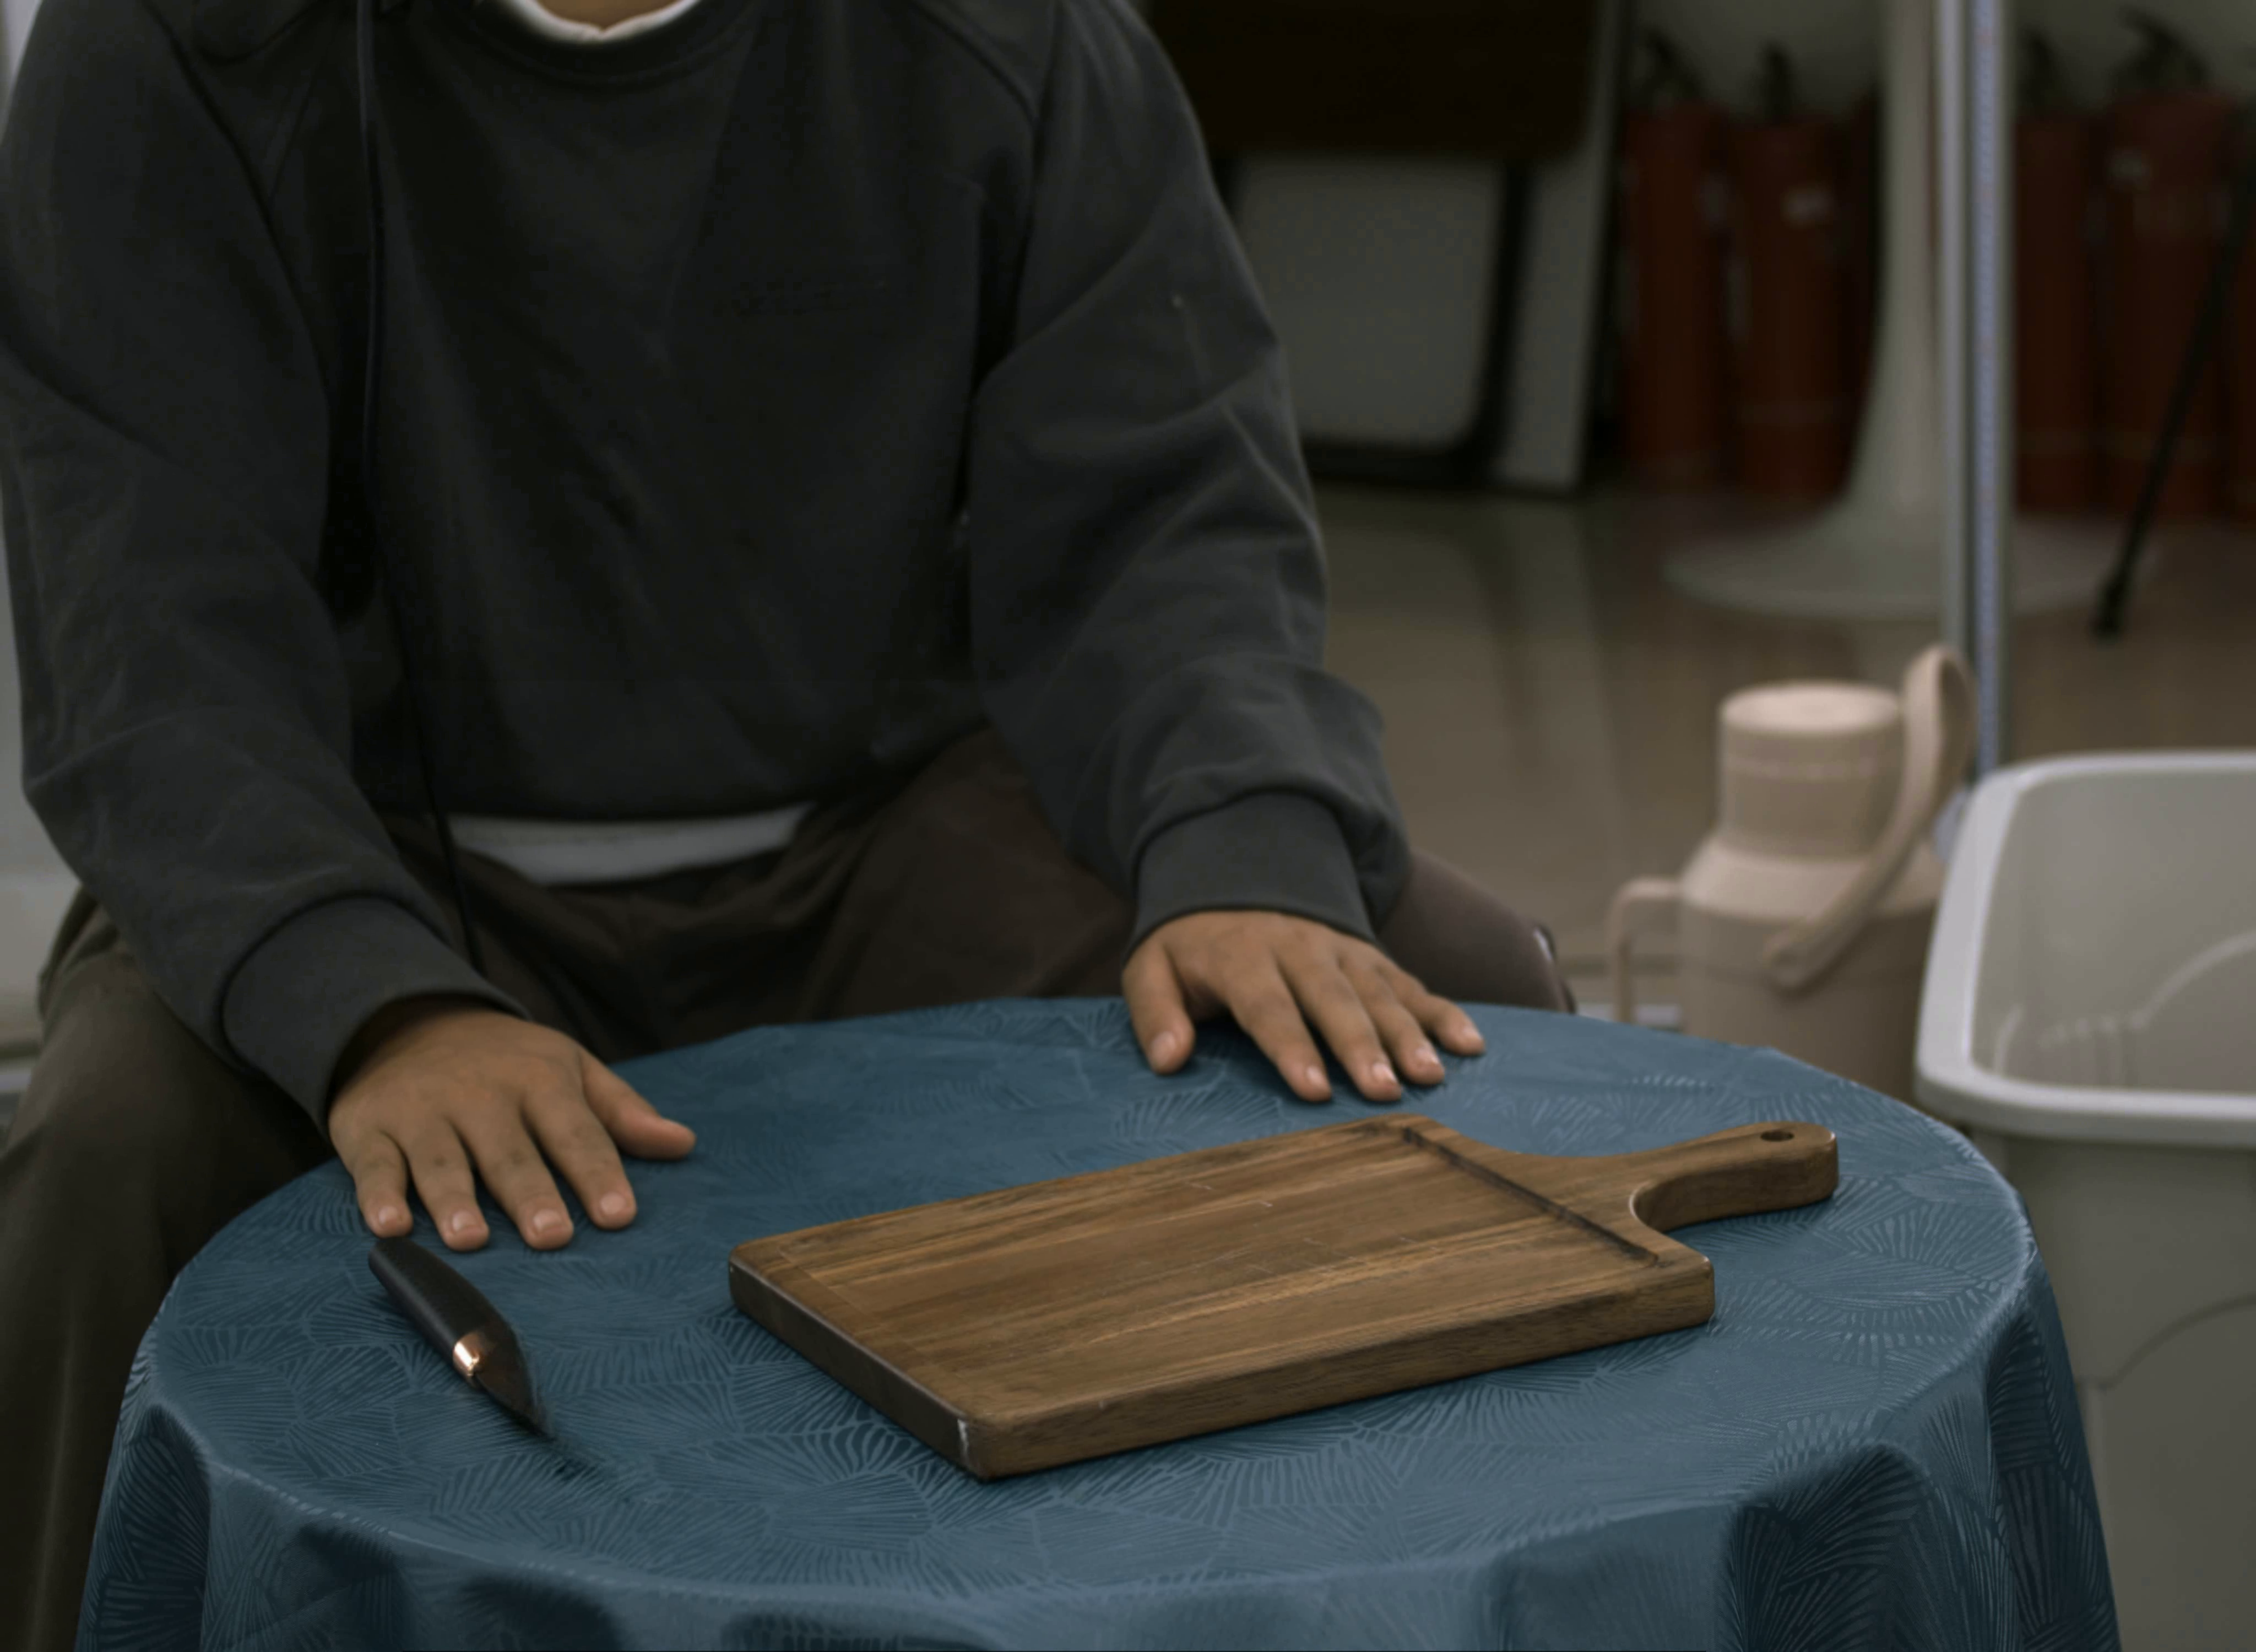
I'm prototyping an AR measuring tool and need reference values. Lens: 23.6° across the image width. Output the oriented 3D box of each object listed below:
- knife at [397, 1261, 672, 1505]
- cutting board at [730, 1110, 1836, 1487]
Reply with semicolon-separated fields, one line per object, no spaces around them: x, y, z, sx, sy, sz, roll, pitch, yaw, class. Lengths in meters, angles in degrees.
-0.180;0.167;1.620;0.025;0.017;0.228;-4;13;-23;knife
0.071;0.132;1.666;0.344;0.023;0.203;-10;15;-24;cutting board
